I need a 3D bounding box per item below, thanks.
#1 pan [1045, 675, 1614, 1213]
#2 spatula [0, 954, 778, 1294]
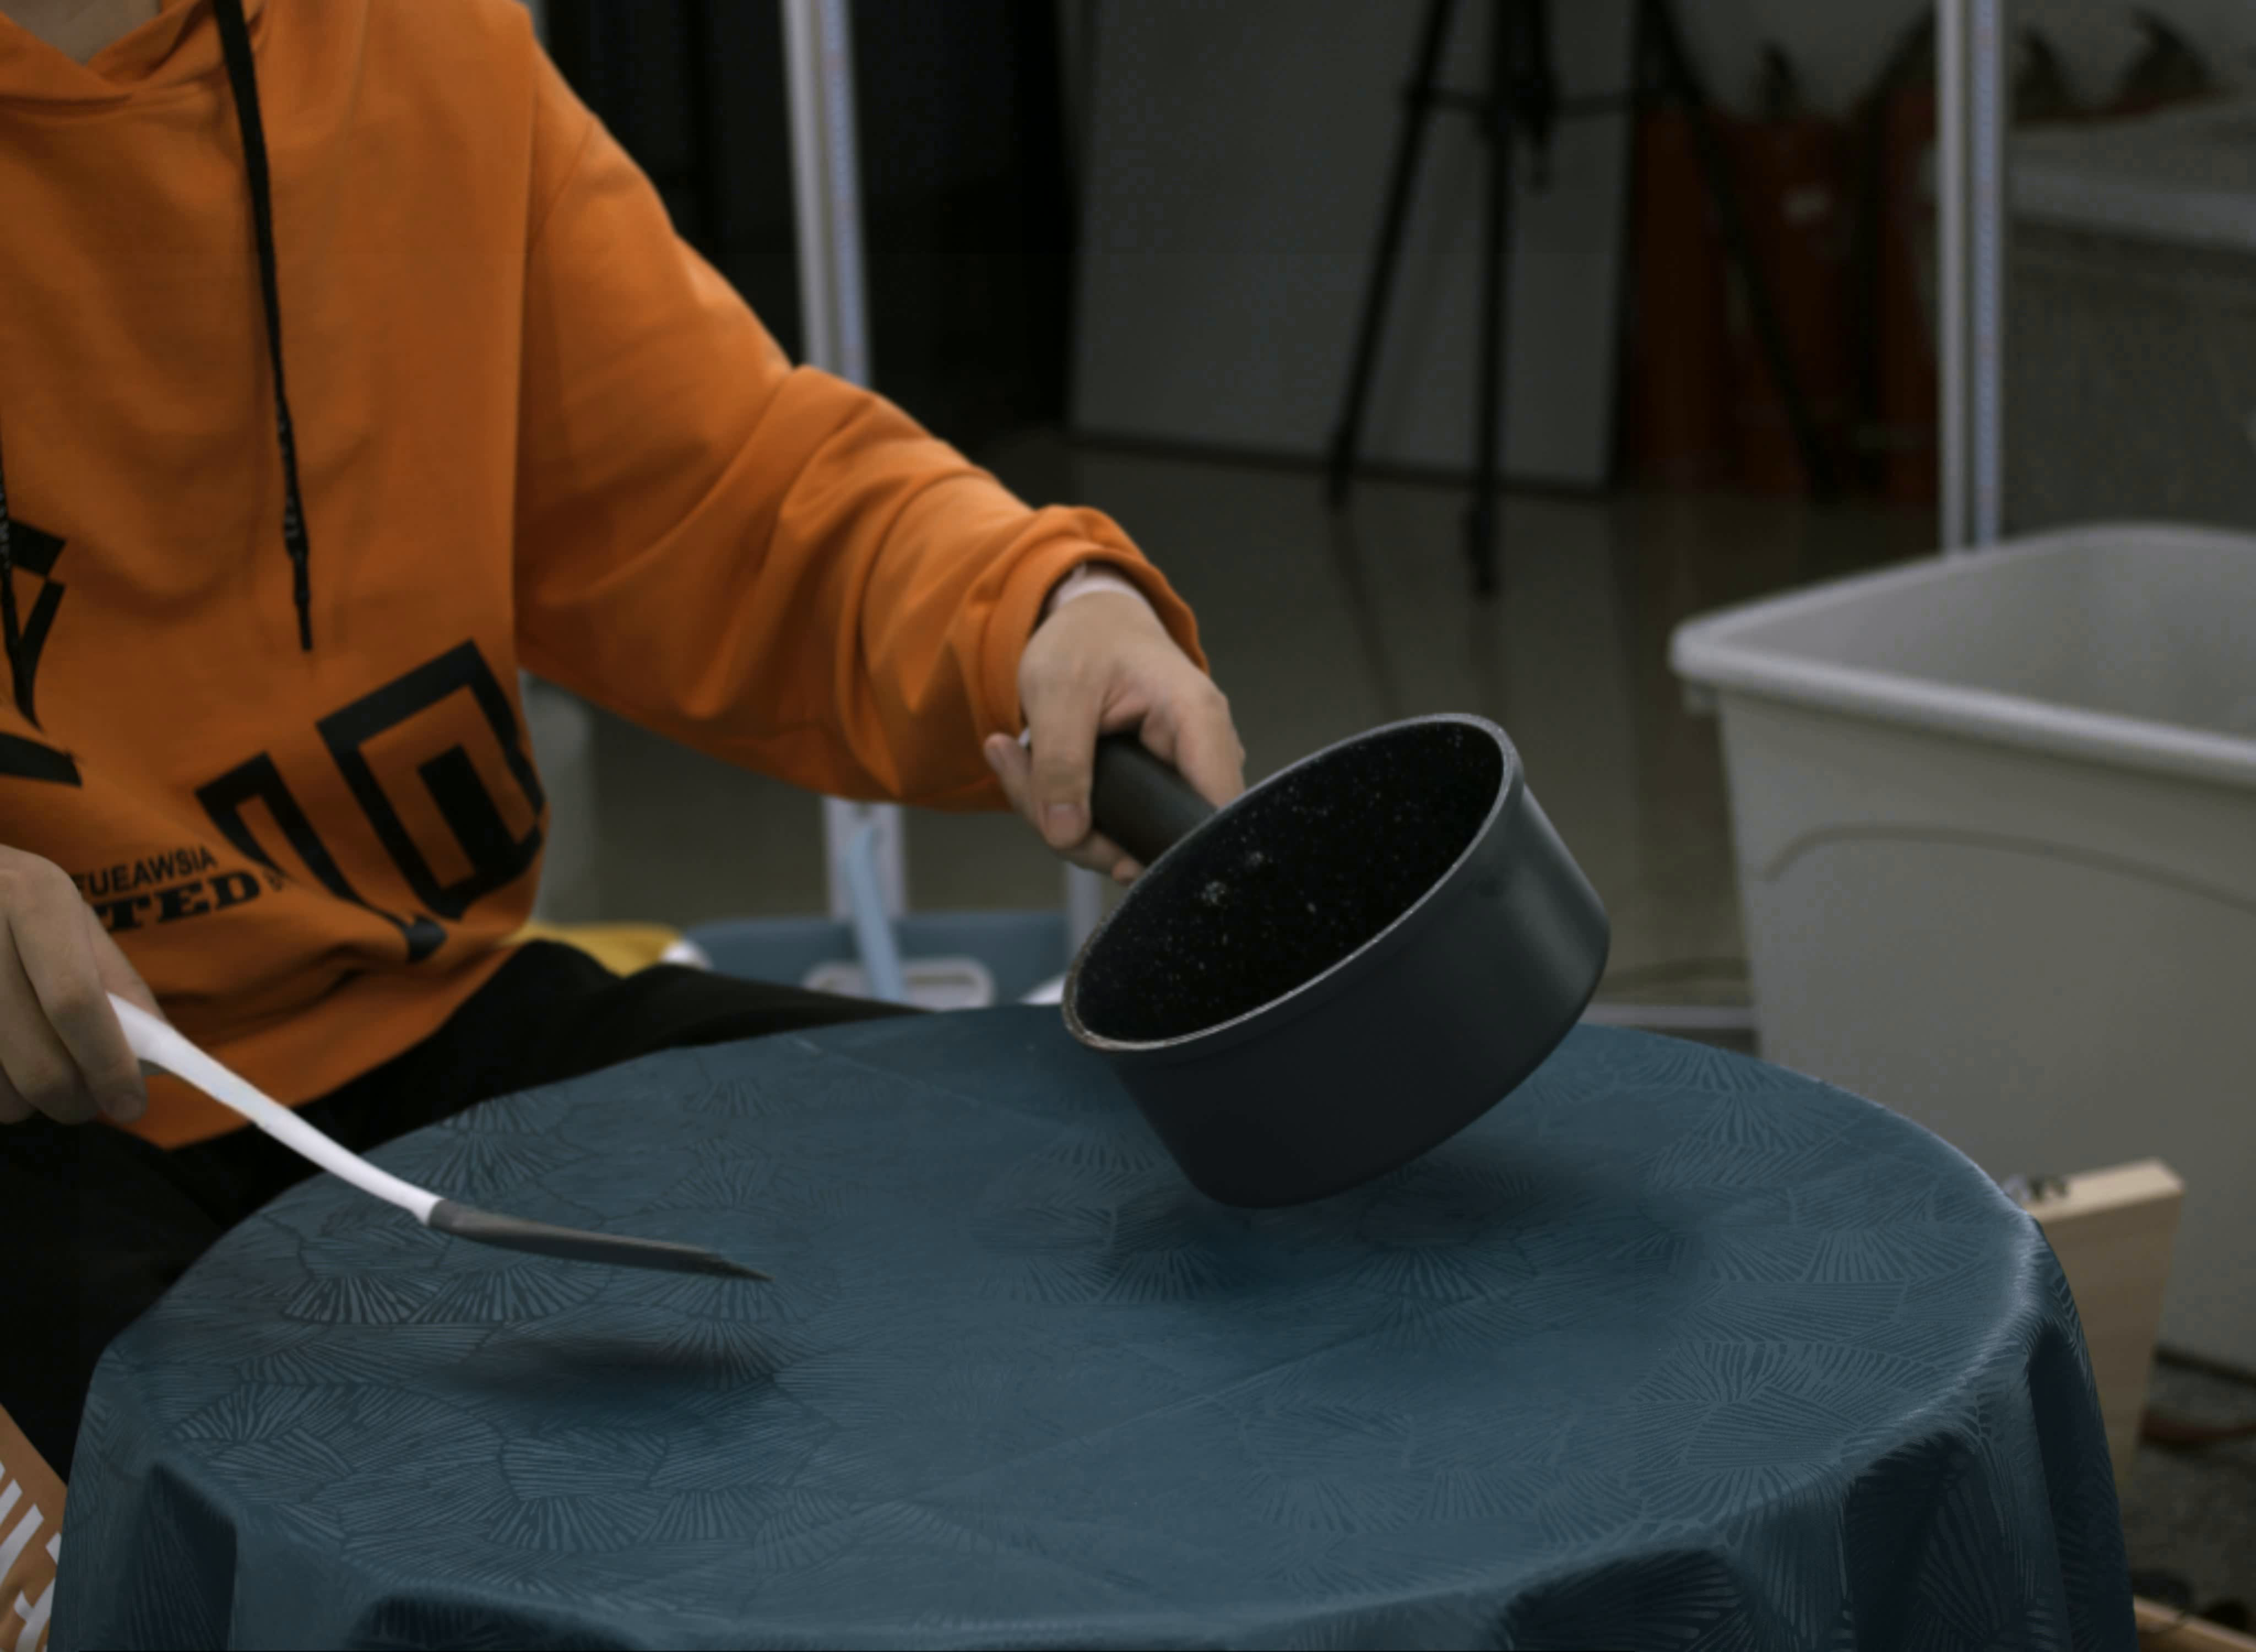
[{"bbox_3d":[0.046,0.025,1.809,0.171,0.086,0.331,-37,21,-6],"label":"pan"},{"bbox_3d":[-0.237,0.099,1.666,0.288,0.032,0.058,19,-15,23],"label":"spatula"}]
